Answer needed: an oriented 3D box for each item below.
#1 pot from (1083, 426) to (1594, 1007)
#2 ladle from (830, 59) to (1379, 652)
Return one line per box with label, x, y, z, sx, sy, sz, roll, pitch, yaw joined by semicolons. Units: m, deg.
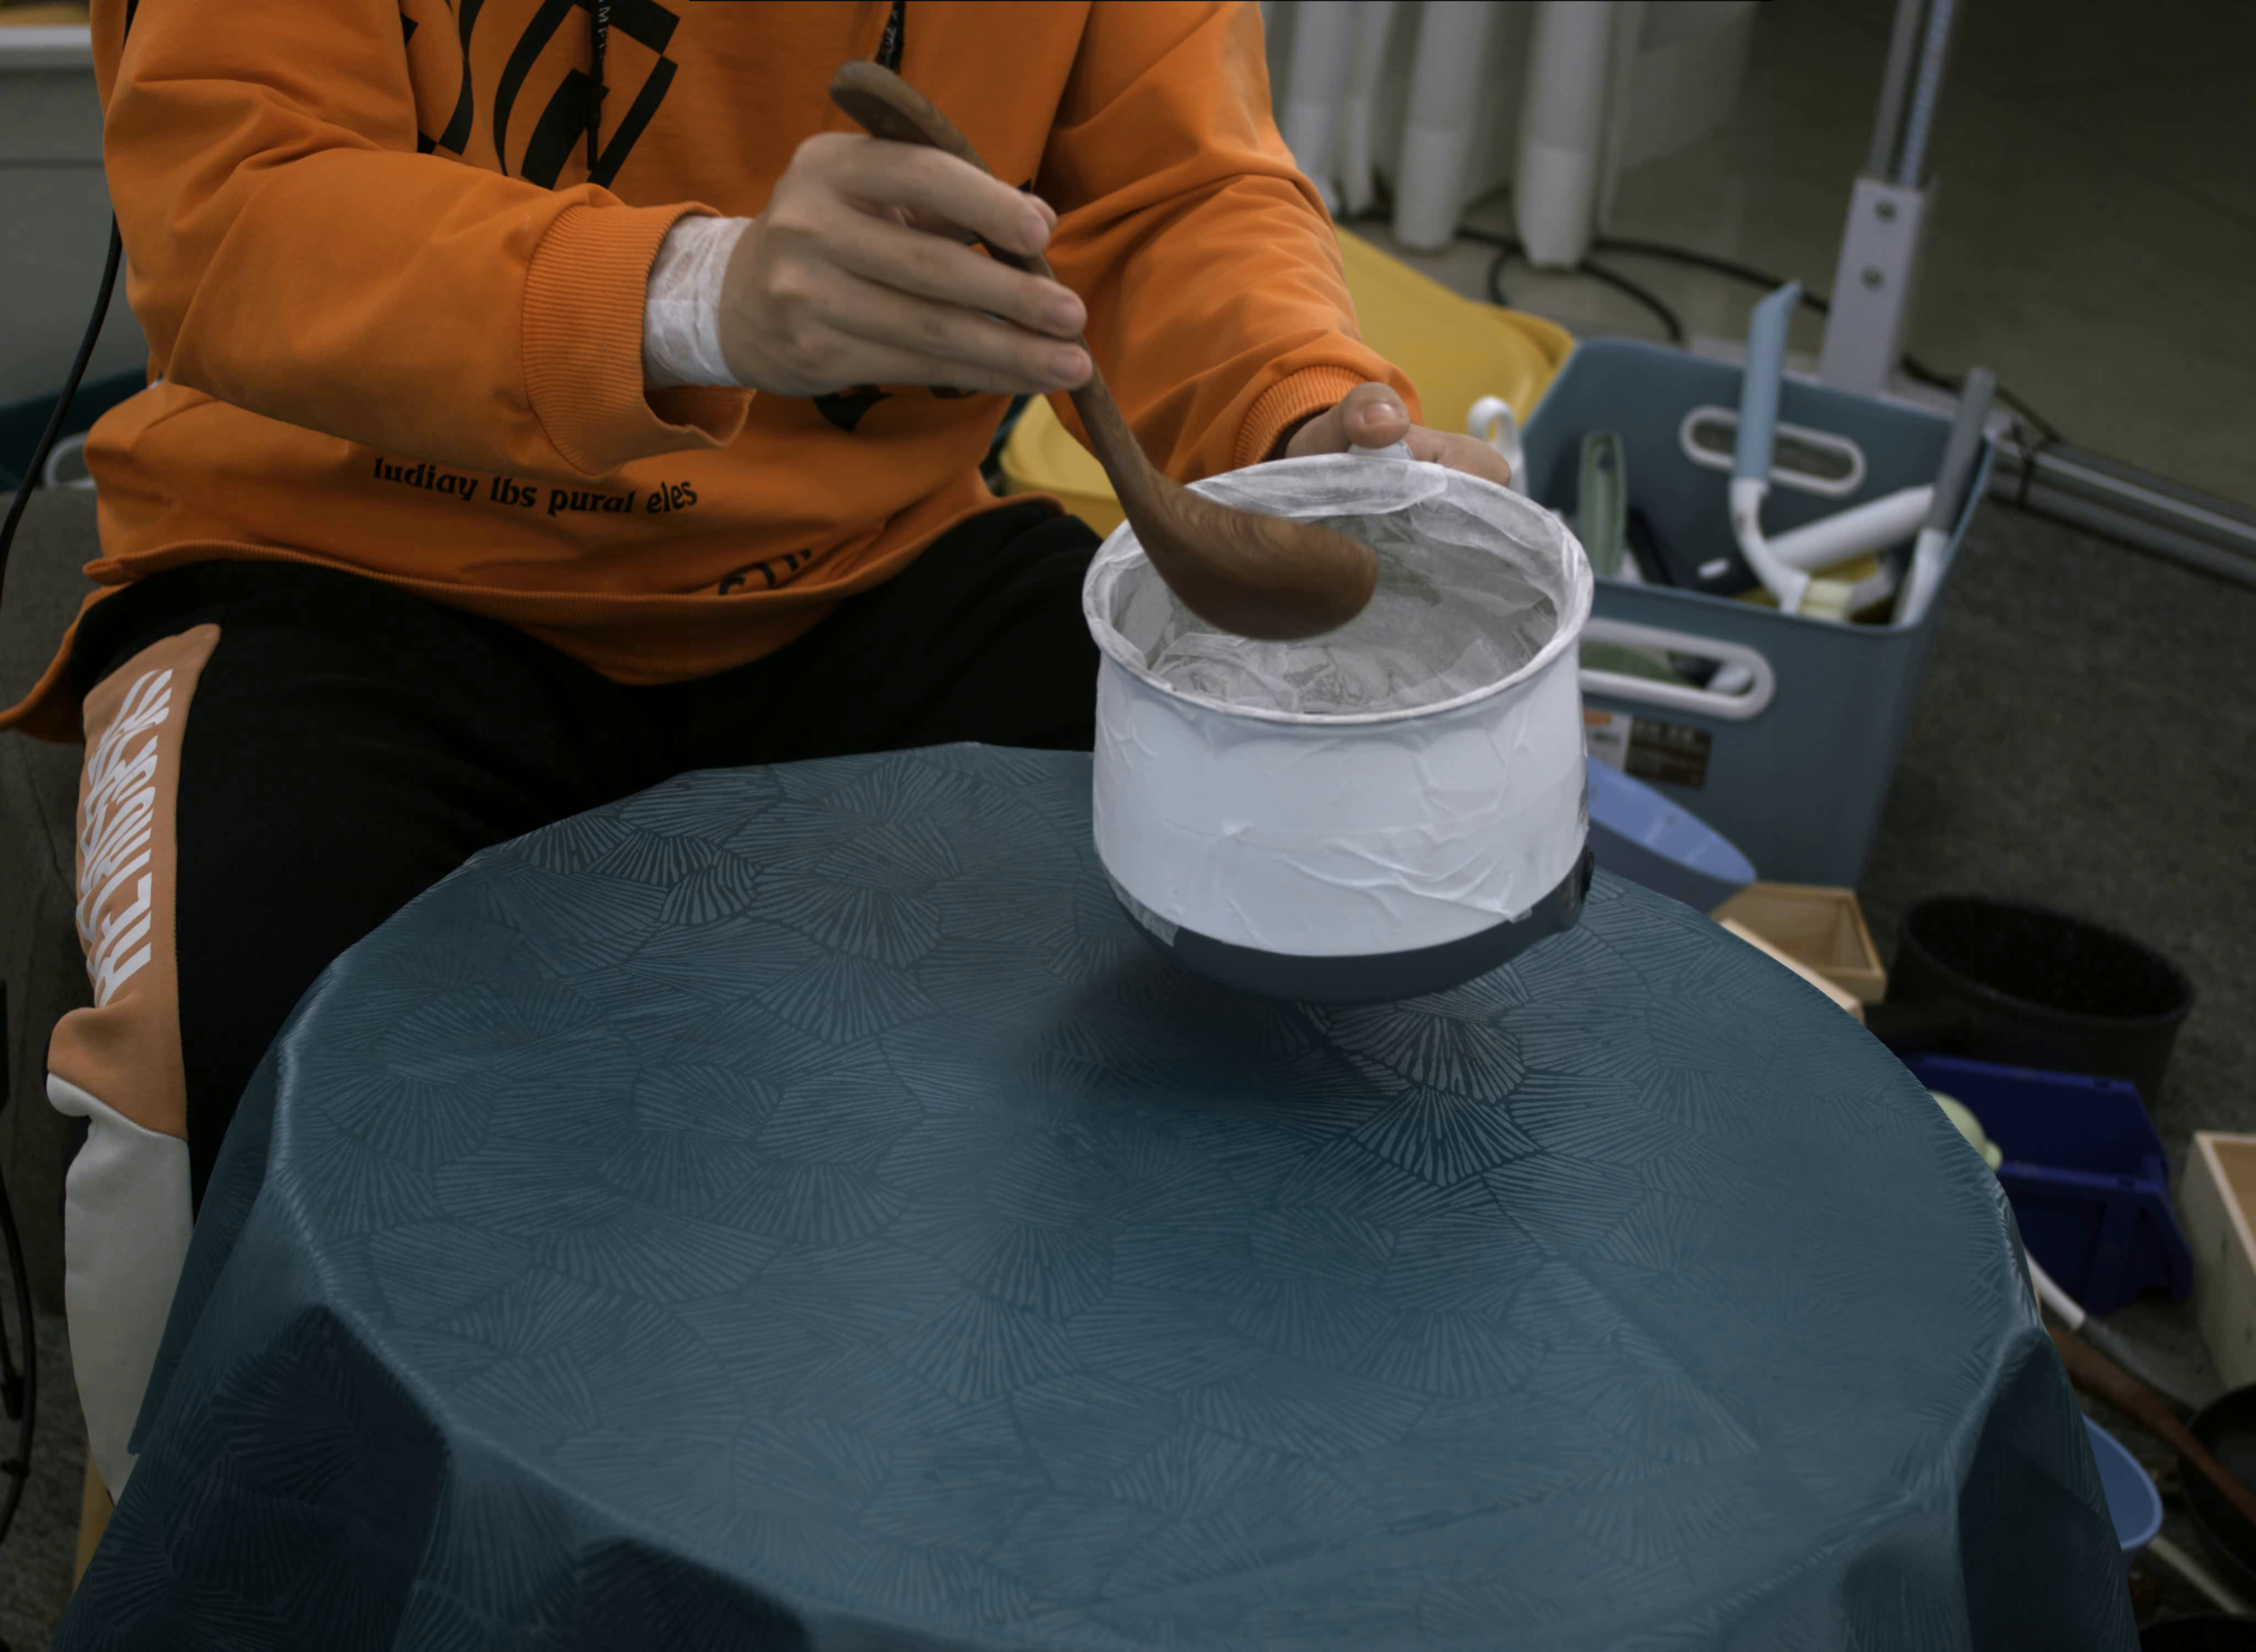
pot;0.078;-0.047;1.896;0.178;0.136;0.235;3;34;8
ladle;-0.007;-0.164;1.818;0.065;0.259;0.077;-41;11;-32
